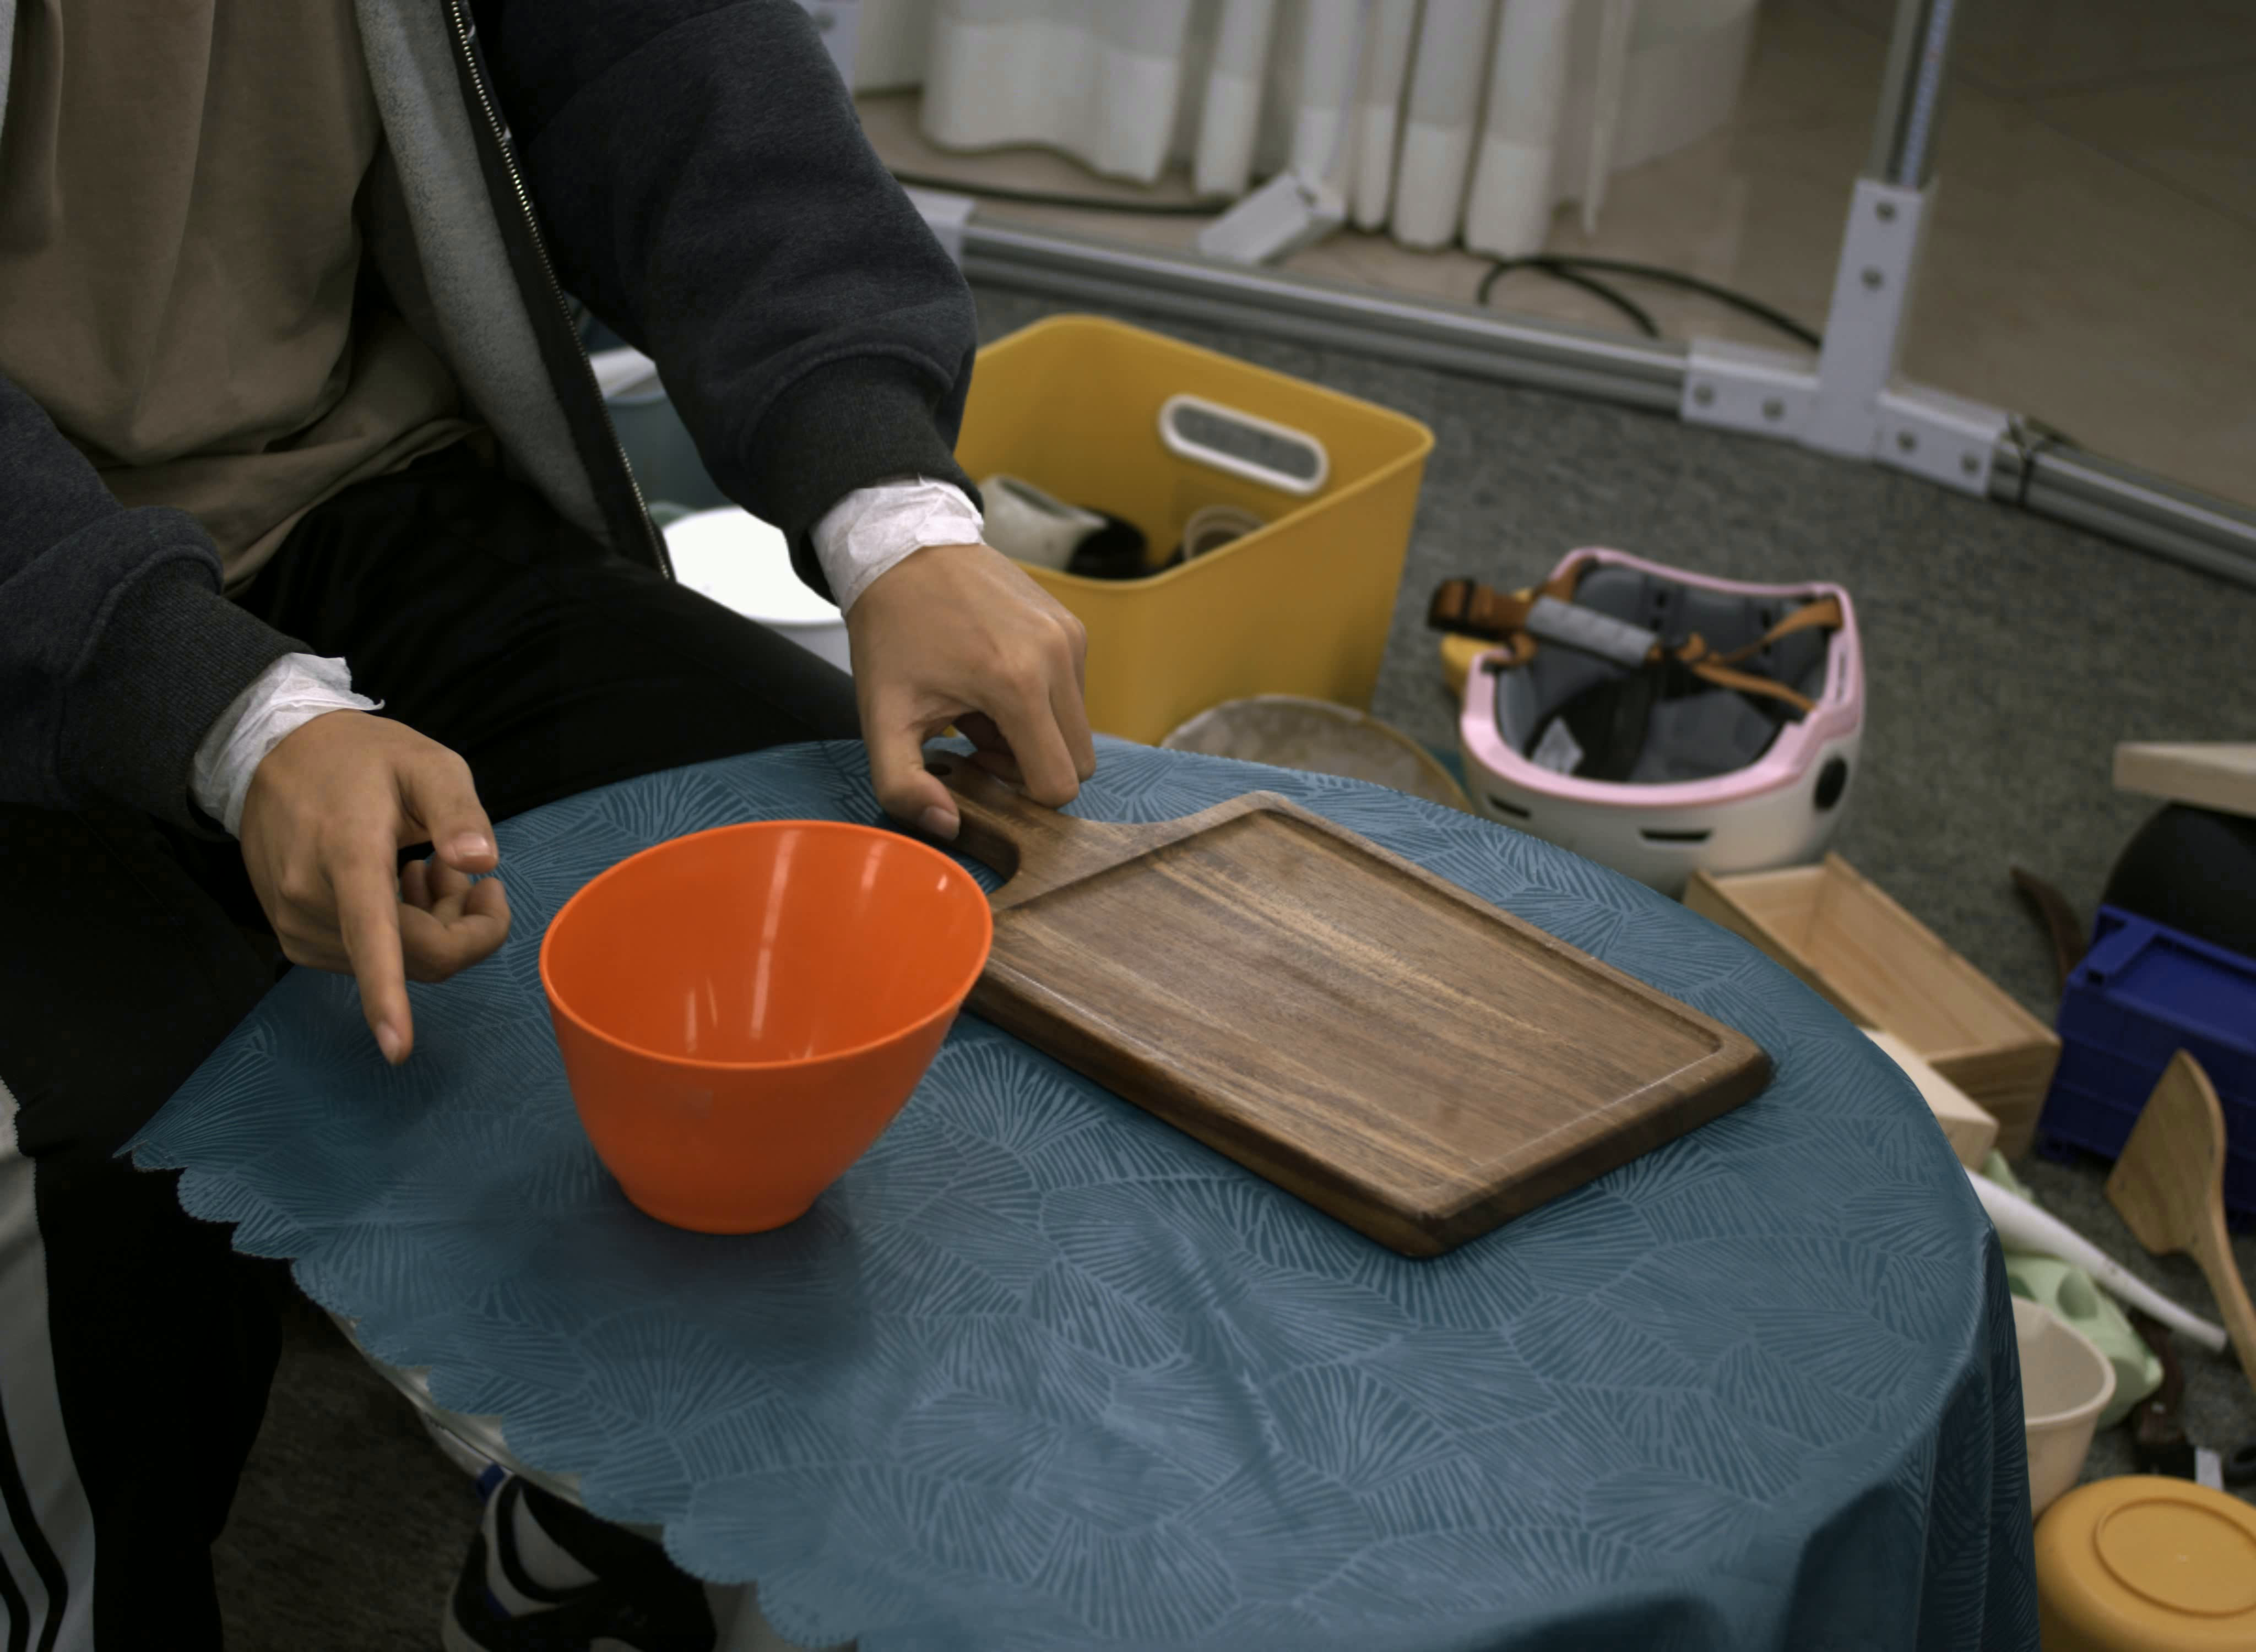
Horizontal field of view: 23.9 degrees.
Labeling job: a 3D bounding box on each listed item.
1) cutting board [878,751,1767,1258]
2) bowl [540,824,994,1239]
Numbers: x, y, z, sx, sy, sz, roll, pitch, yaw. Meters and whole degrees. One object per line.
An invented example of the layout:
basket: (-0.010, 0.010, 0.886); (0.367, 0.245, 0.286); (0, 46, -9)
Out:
cutting board: (0.039, 0.047, 1.939); (0.355, 0.023, 0.200); (28, 34, 36)
bowl: (-0.122, 0.074, 1.760); (0.147, 0.104, 0.149); (6, 27, -3)
